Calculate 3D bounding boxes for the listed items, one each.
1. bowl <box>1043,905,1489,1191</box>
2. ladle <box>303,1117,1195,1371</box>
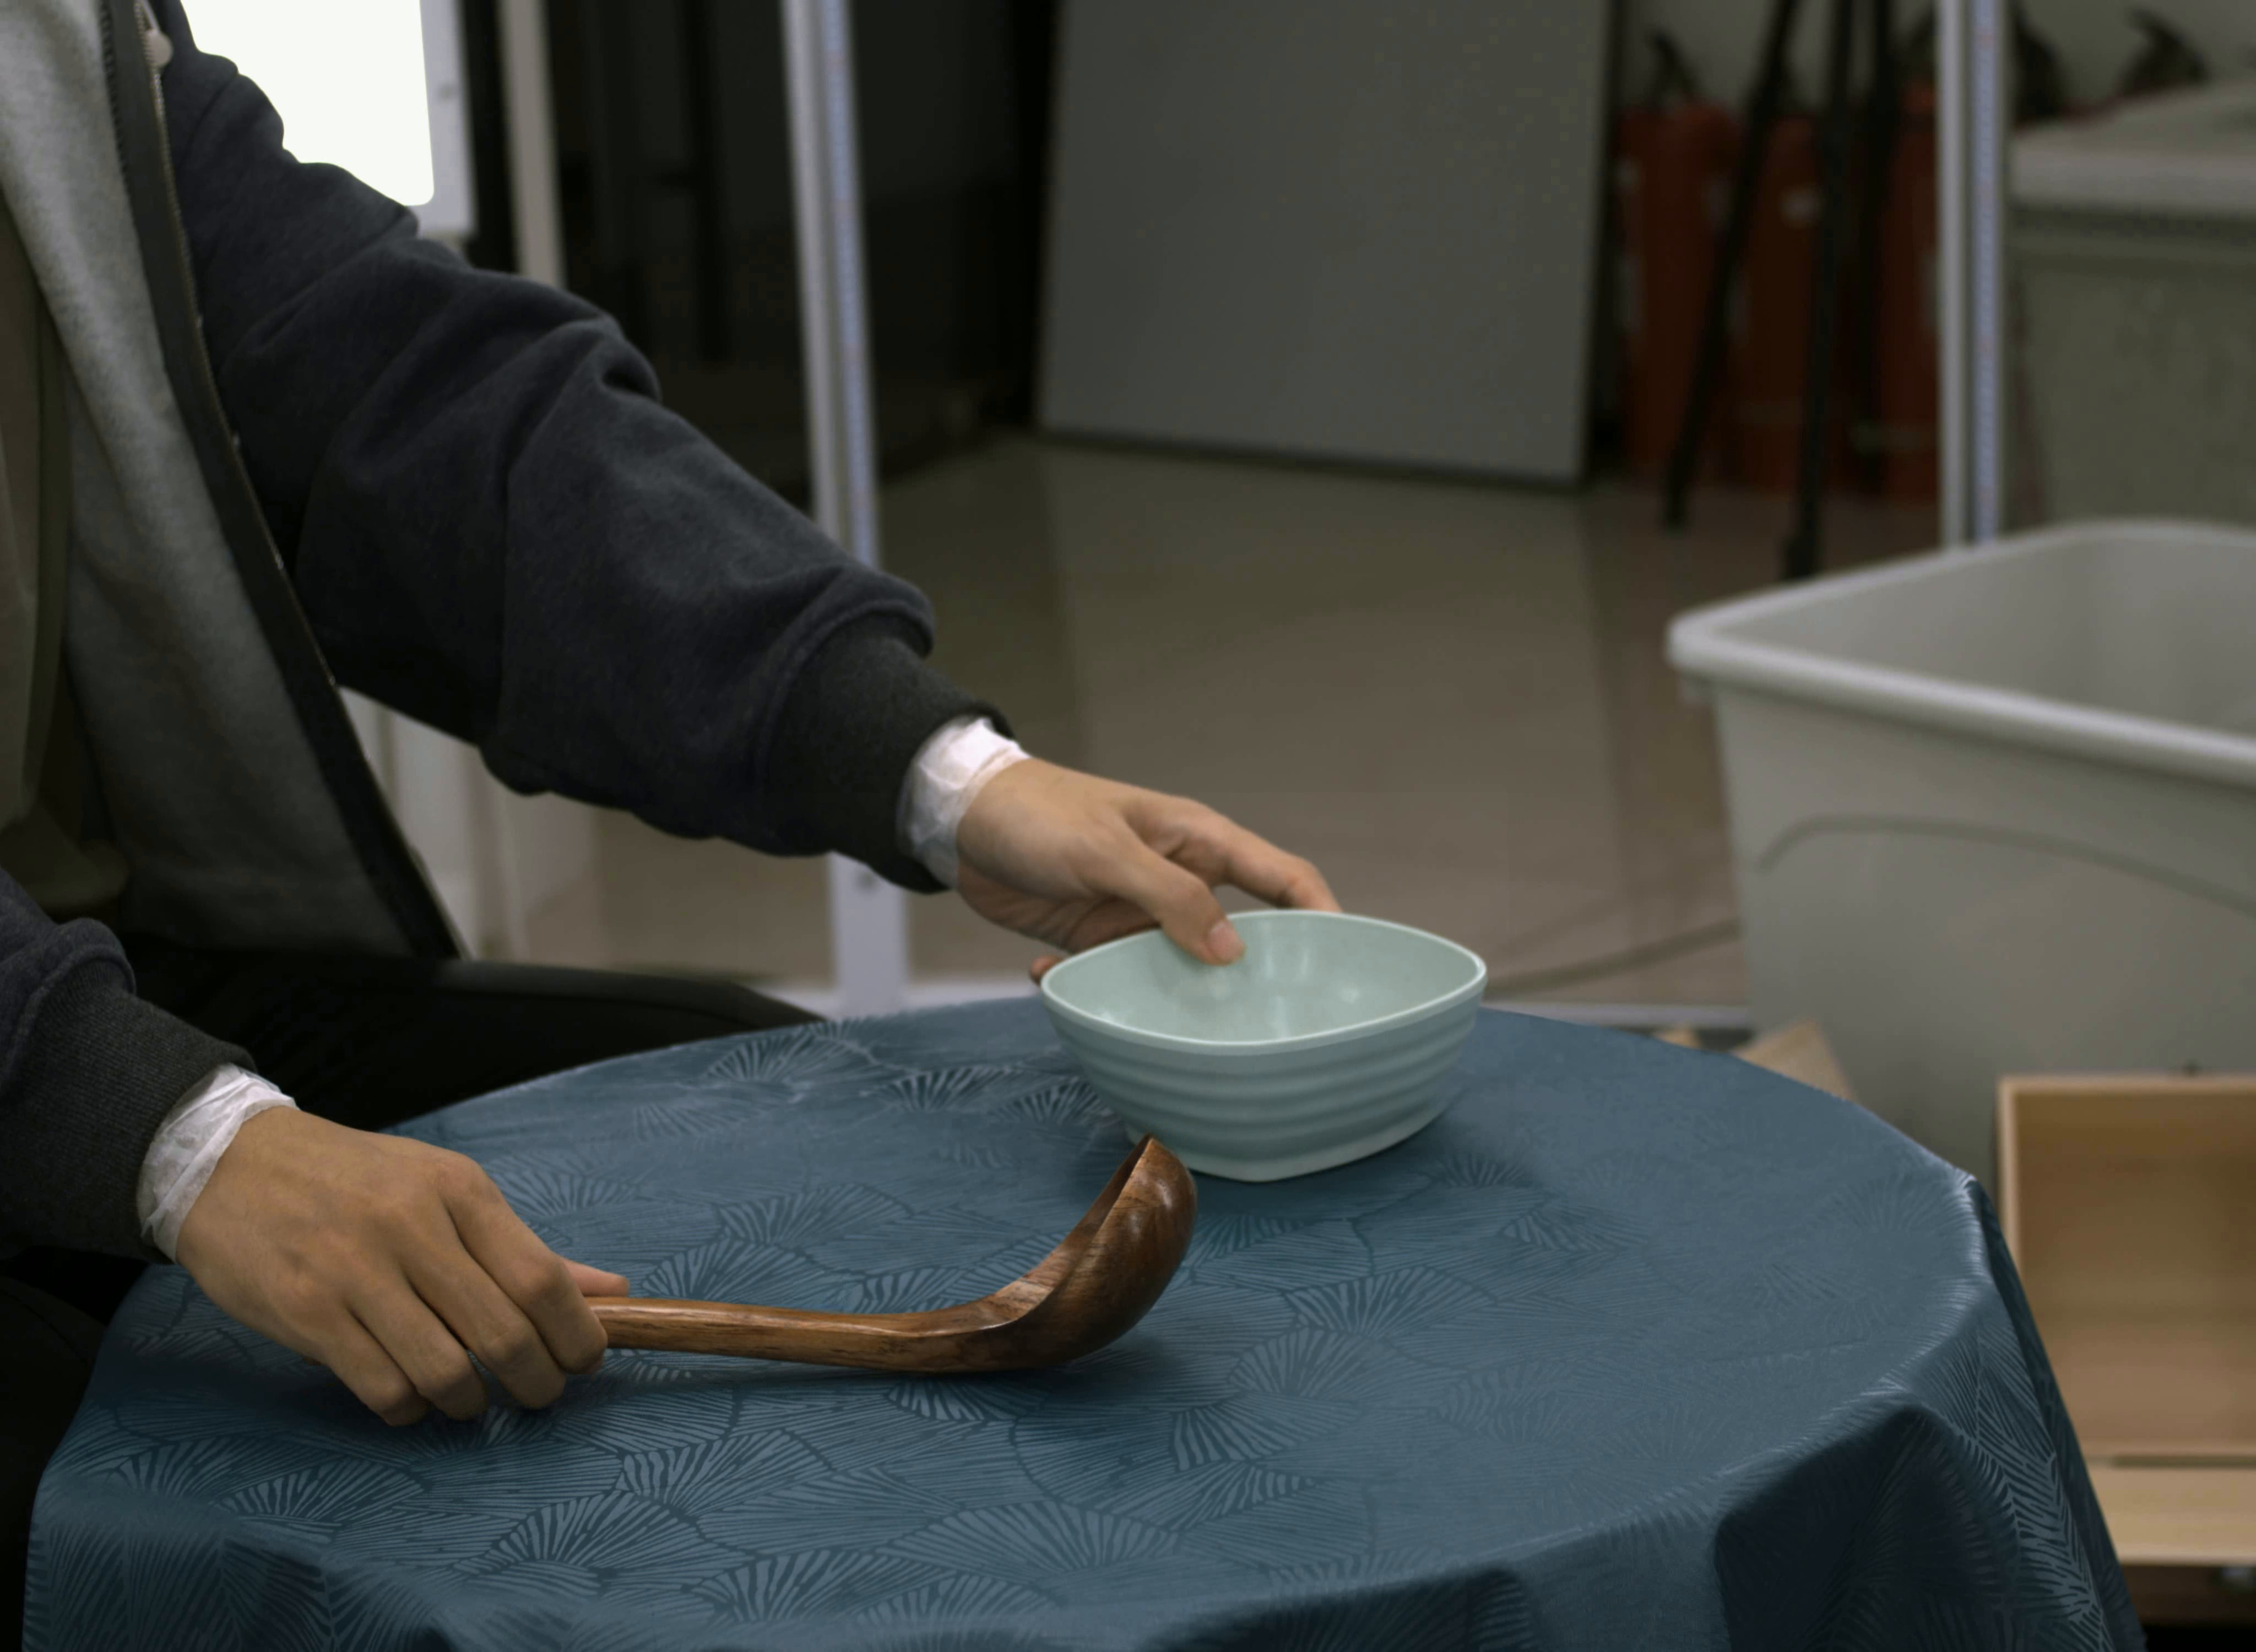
[{"bbox_3d":[0.047,0.078,1.806,0.149,0.059,0.152,-2,17,0],"label":"bowl"},{"bbox_3d":[-0.115,0.124,1.610,0.272,0.077,0.081,0,7,8],"label":"ladle"}]
